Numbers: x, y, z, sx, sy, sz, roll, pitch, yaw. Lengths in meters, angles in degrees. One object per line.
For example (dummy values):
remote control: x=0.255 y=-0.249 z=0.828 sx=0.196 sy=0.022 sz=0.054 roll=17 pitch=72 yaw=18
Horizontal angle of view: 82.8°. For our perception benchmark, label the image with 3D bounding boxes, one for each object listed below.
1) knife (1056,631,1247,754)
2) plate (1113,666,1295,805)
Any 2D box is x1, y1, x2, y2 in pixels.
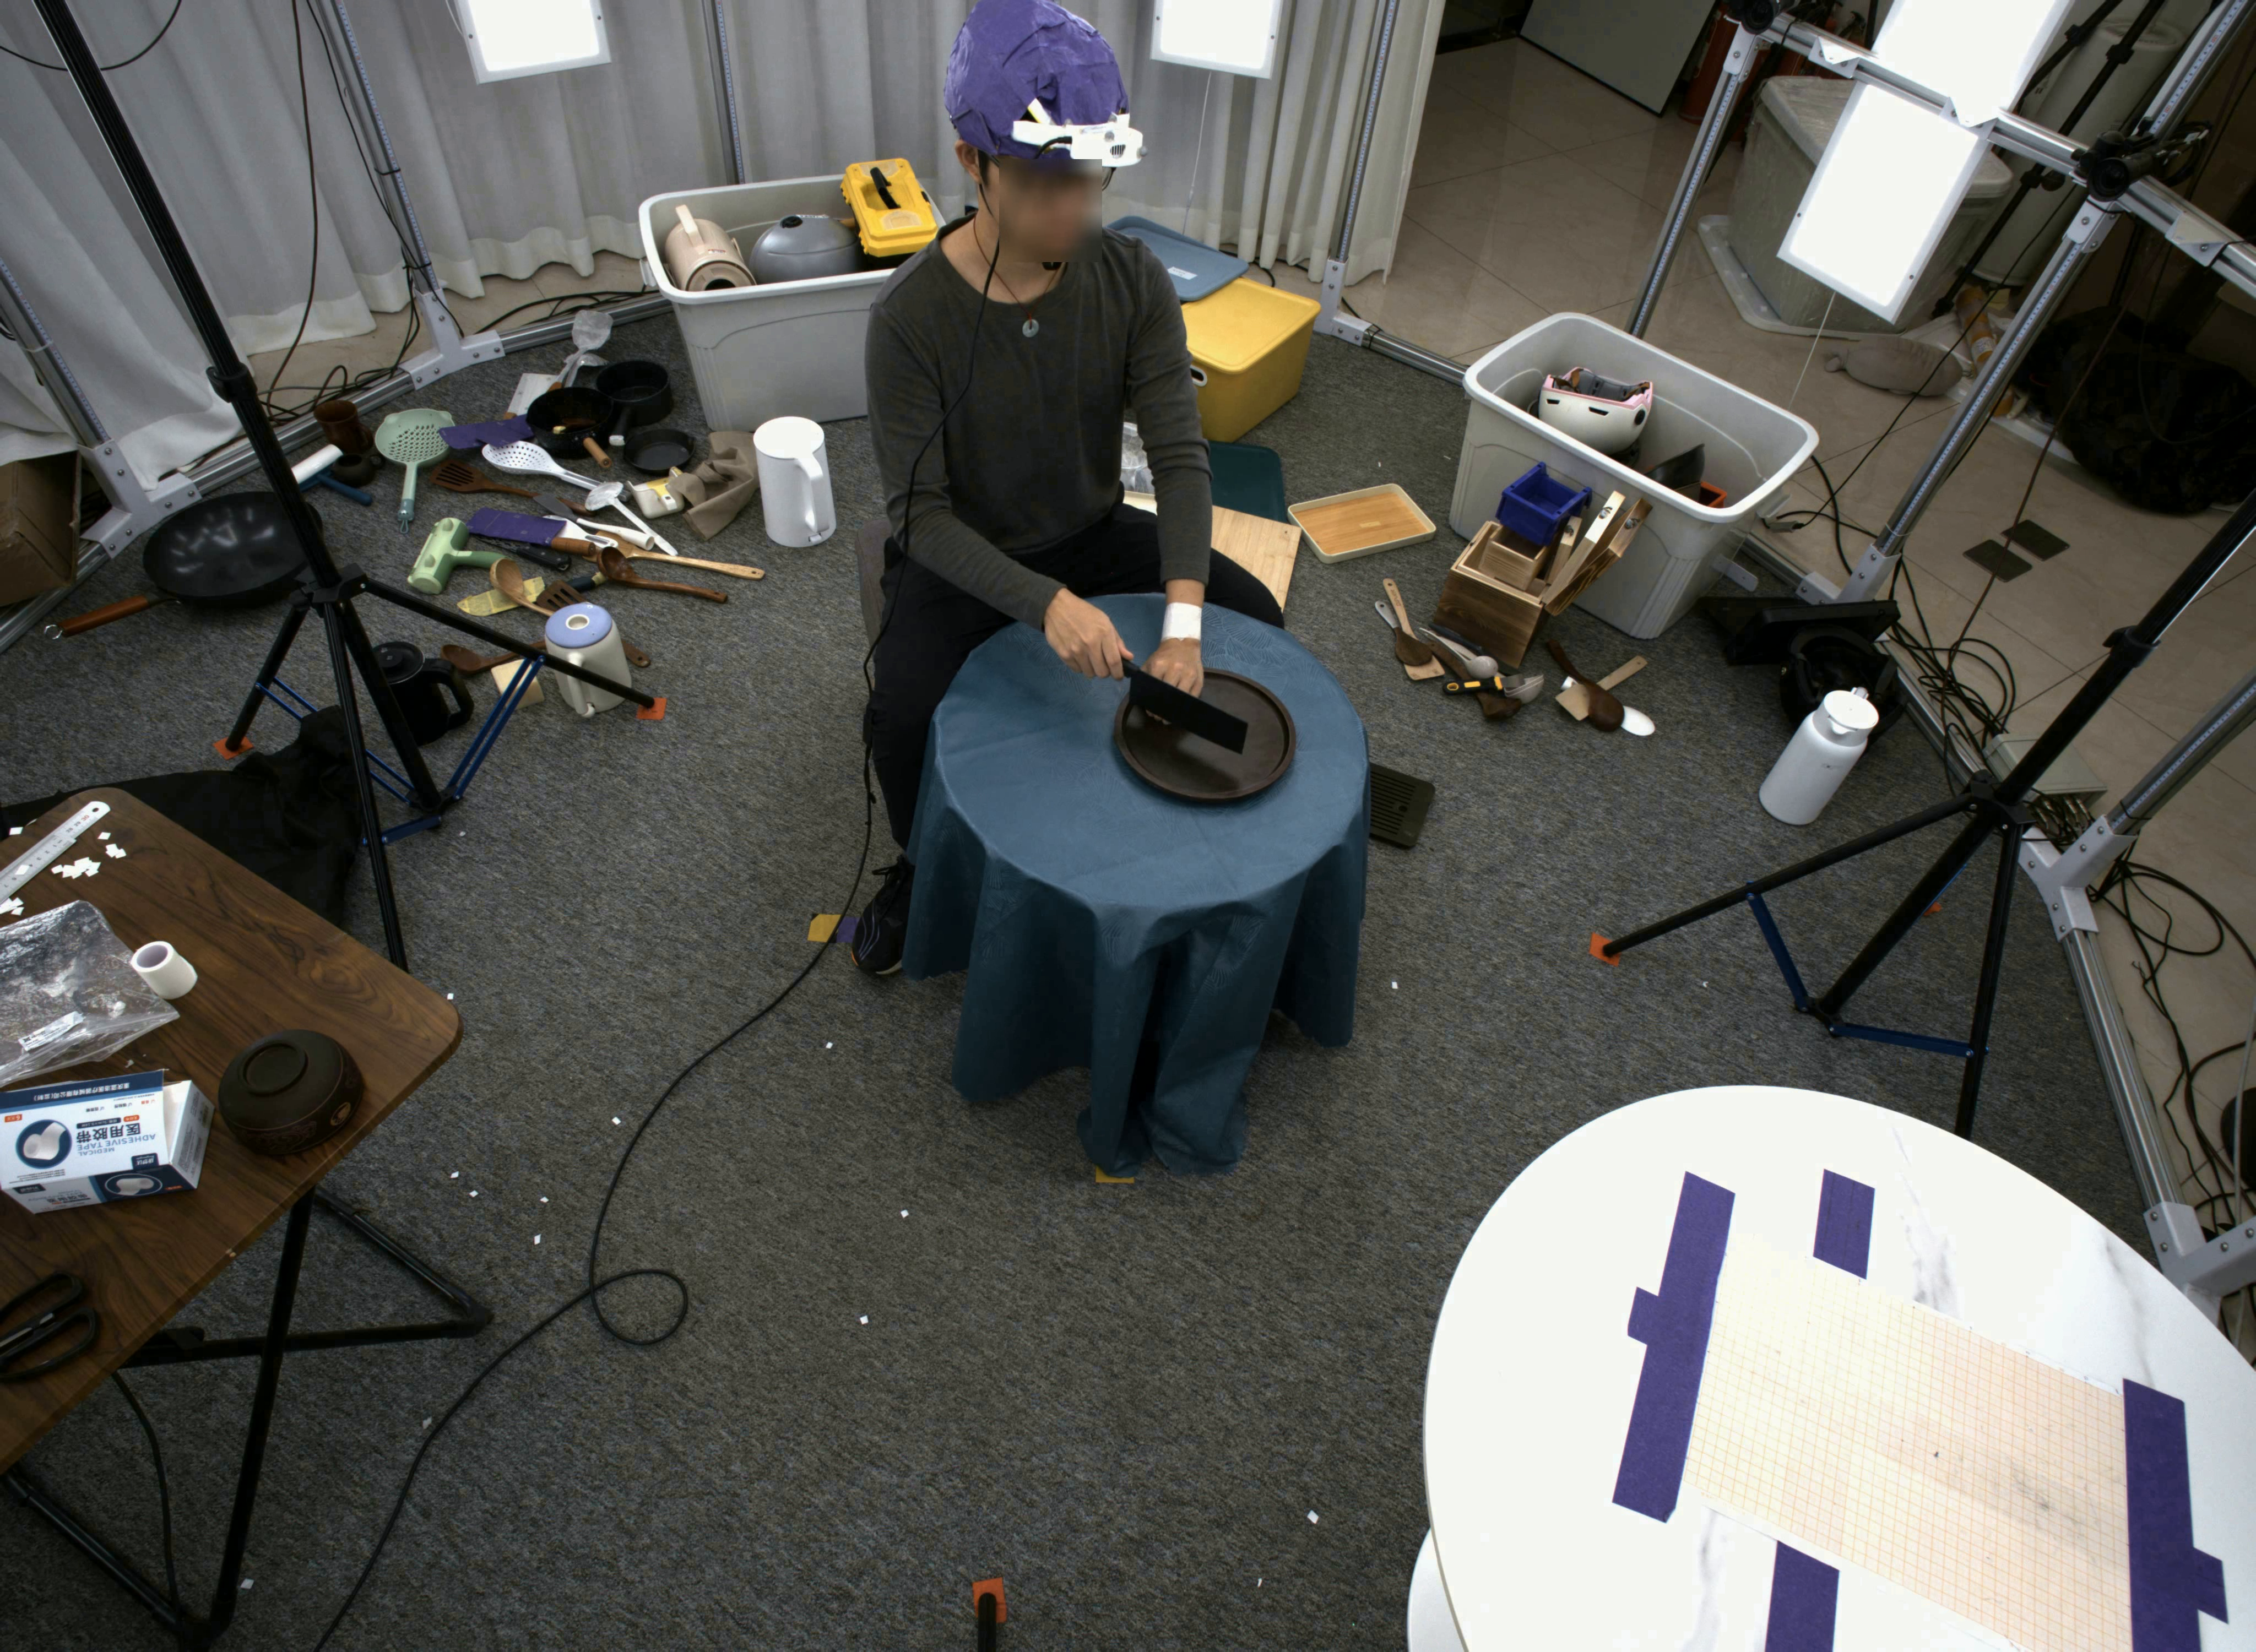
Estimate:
knife: x=0.029 y=-0.184 z=1.734 sx=0.305 sy=0.079 sz=0.021 roll=31 pitch=53 yaw=16
plate: x=0.104 y=-0.127 z=1.770 sx=0.254 sy=0.028 sz=0.261 roll=1 pitch=50 yaw=-2
